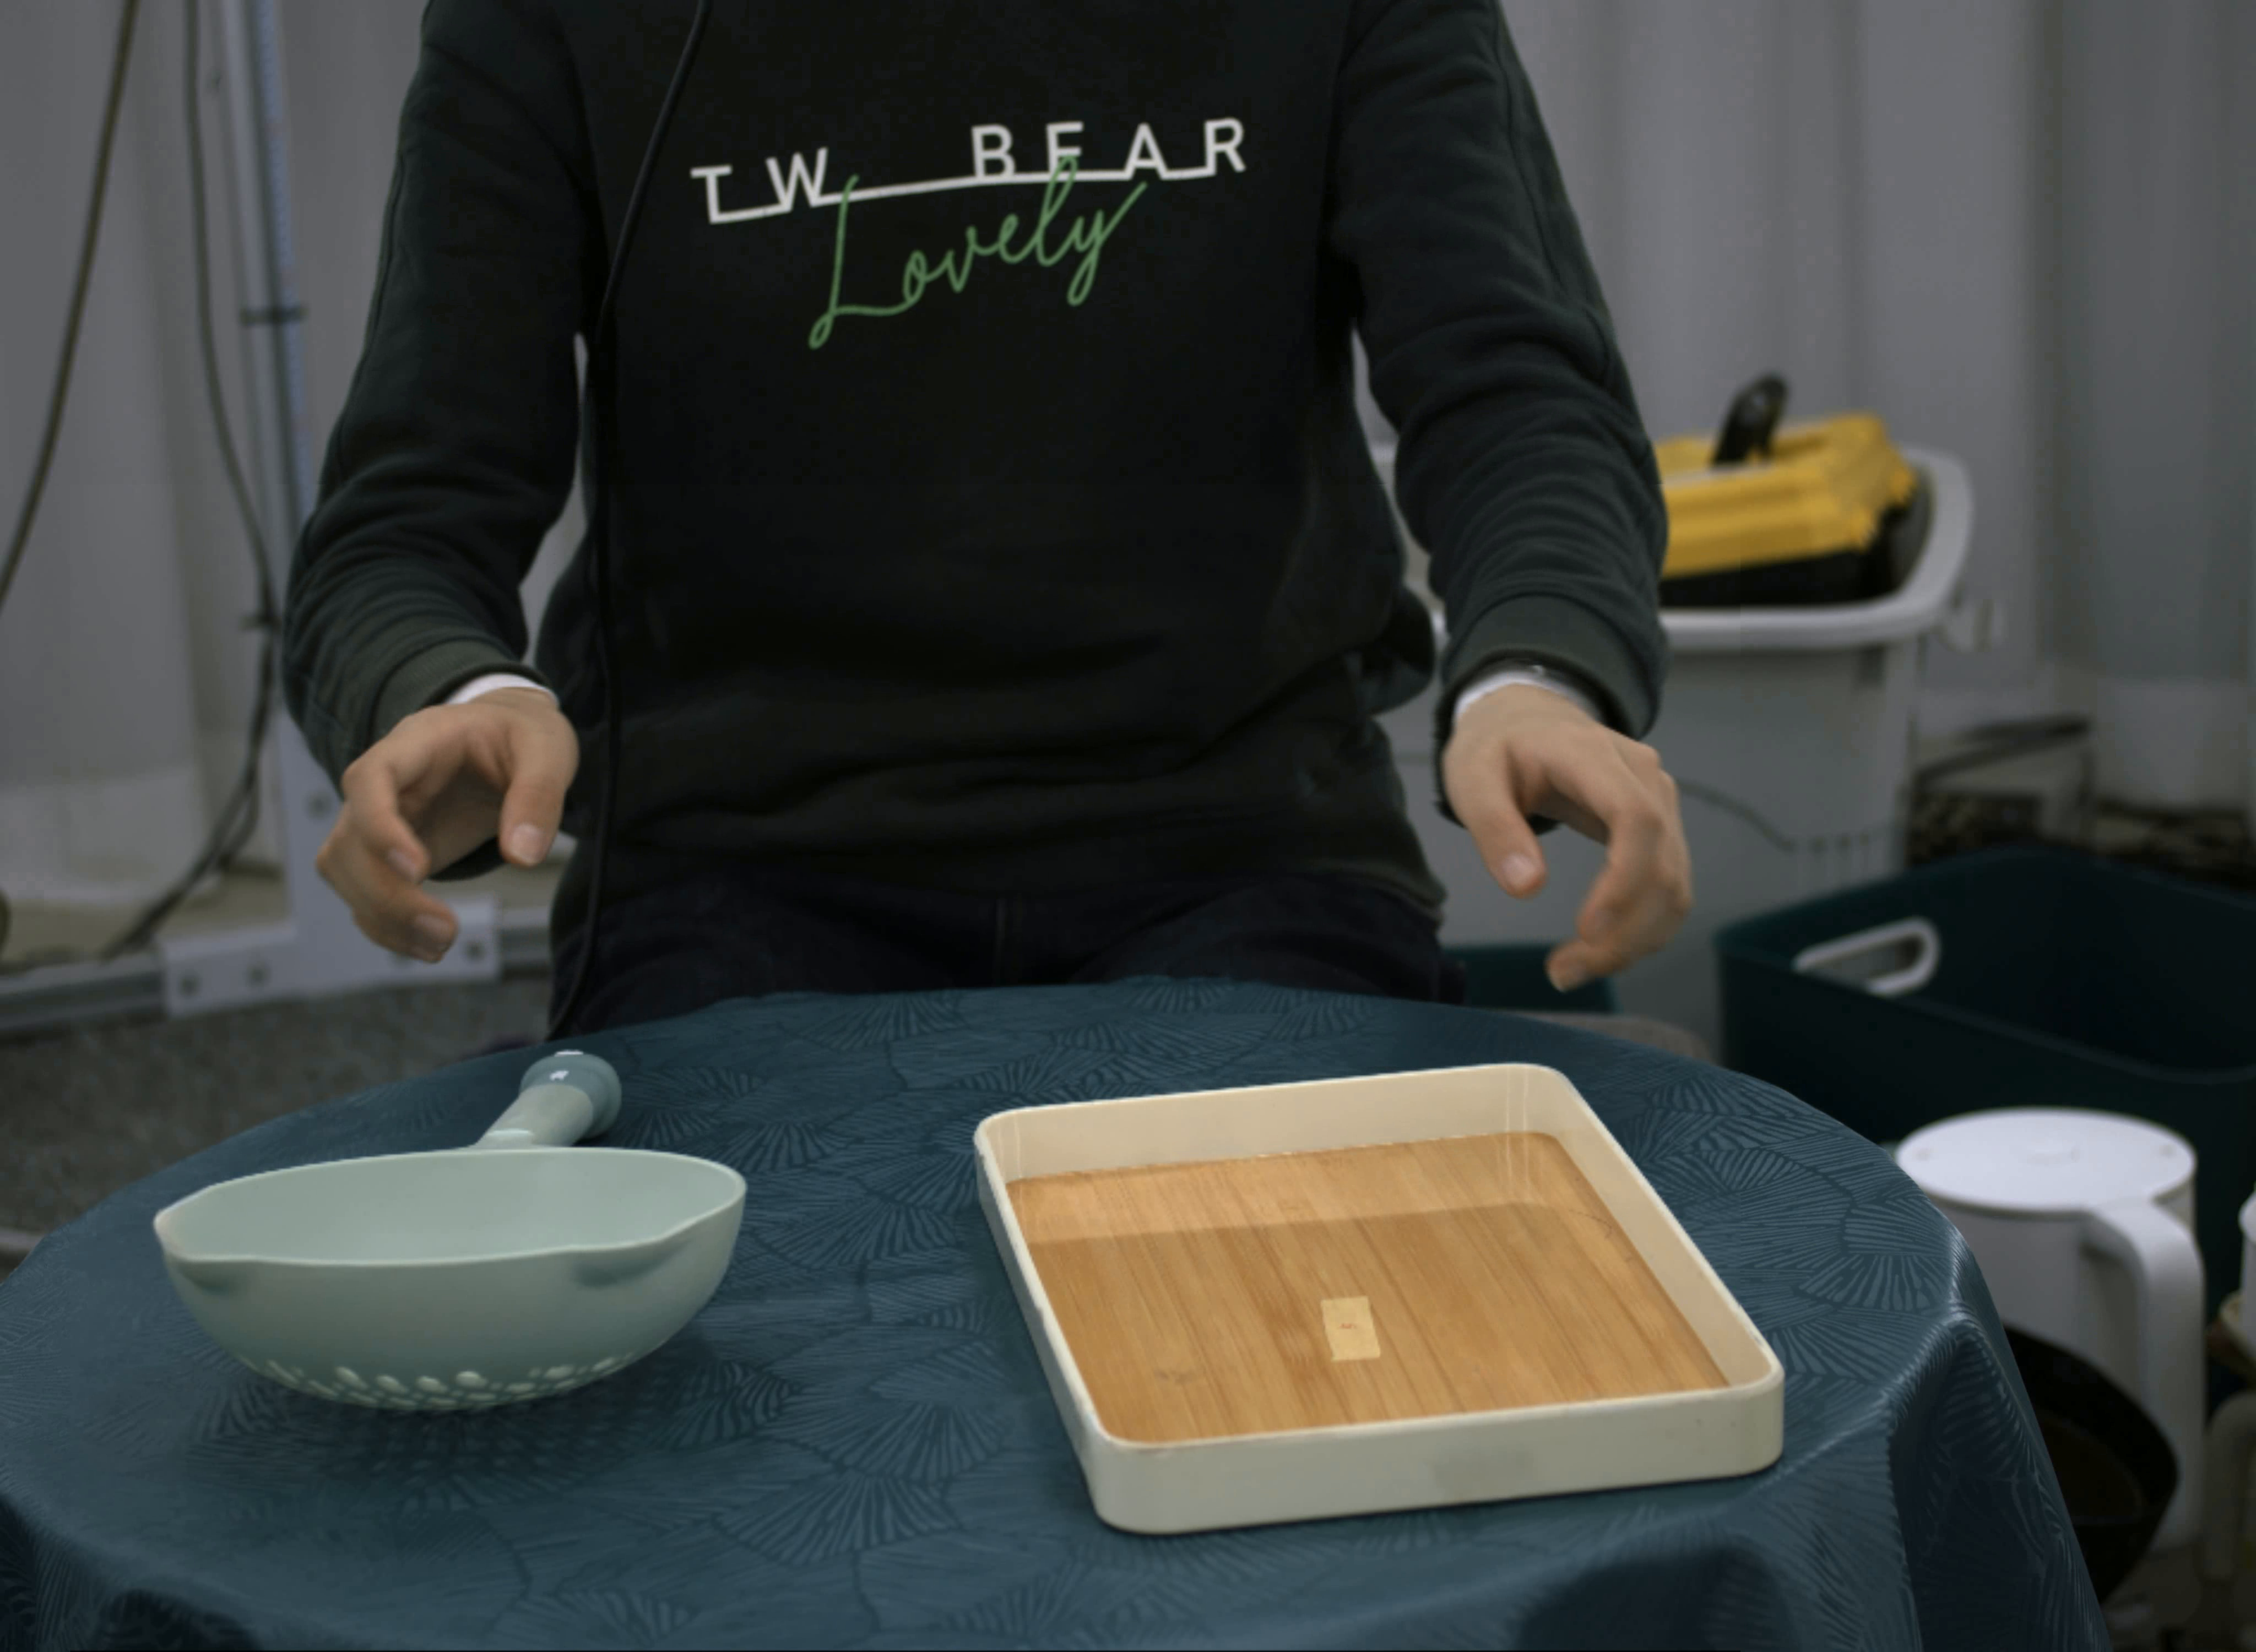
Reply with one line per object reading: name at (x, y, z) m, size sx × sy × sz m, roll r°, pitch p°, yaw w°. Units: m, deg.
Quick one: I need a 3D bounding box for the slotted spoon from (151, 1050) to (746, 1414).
slotted spoon at (-0.187, 0.107, 1.654) m, size 0.169 × 0.075 × 0.361 m, roll -2°, pitch 15°, yaw 3°

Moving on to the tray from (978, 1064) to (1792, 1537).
tray at (0.066, 0.132, 1.586) m, size 0.191 × 0.027 × 0.302 m, roll -5°, pitch 15°, yaw -7°
